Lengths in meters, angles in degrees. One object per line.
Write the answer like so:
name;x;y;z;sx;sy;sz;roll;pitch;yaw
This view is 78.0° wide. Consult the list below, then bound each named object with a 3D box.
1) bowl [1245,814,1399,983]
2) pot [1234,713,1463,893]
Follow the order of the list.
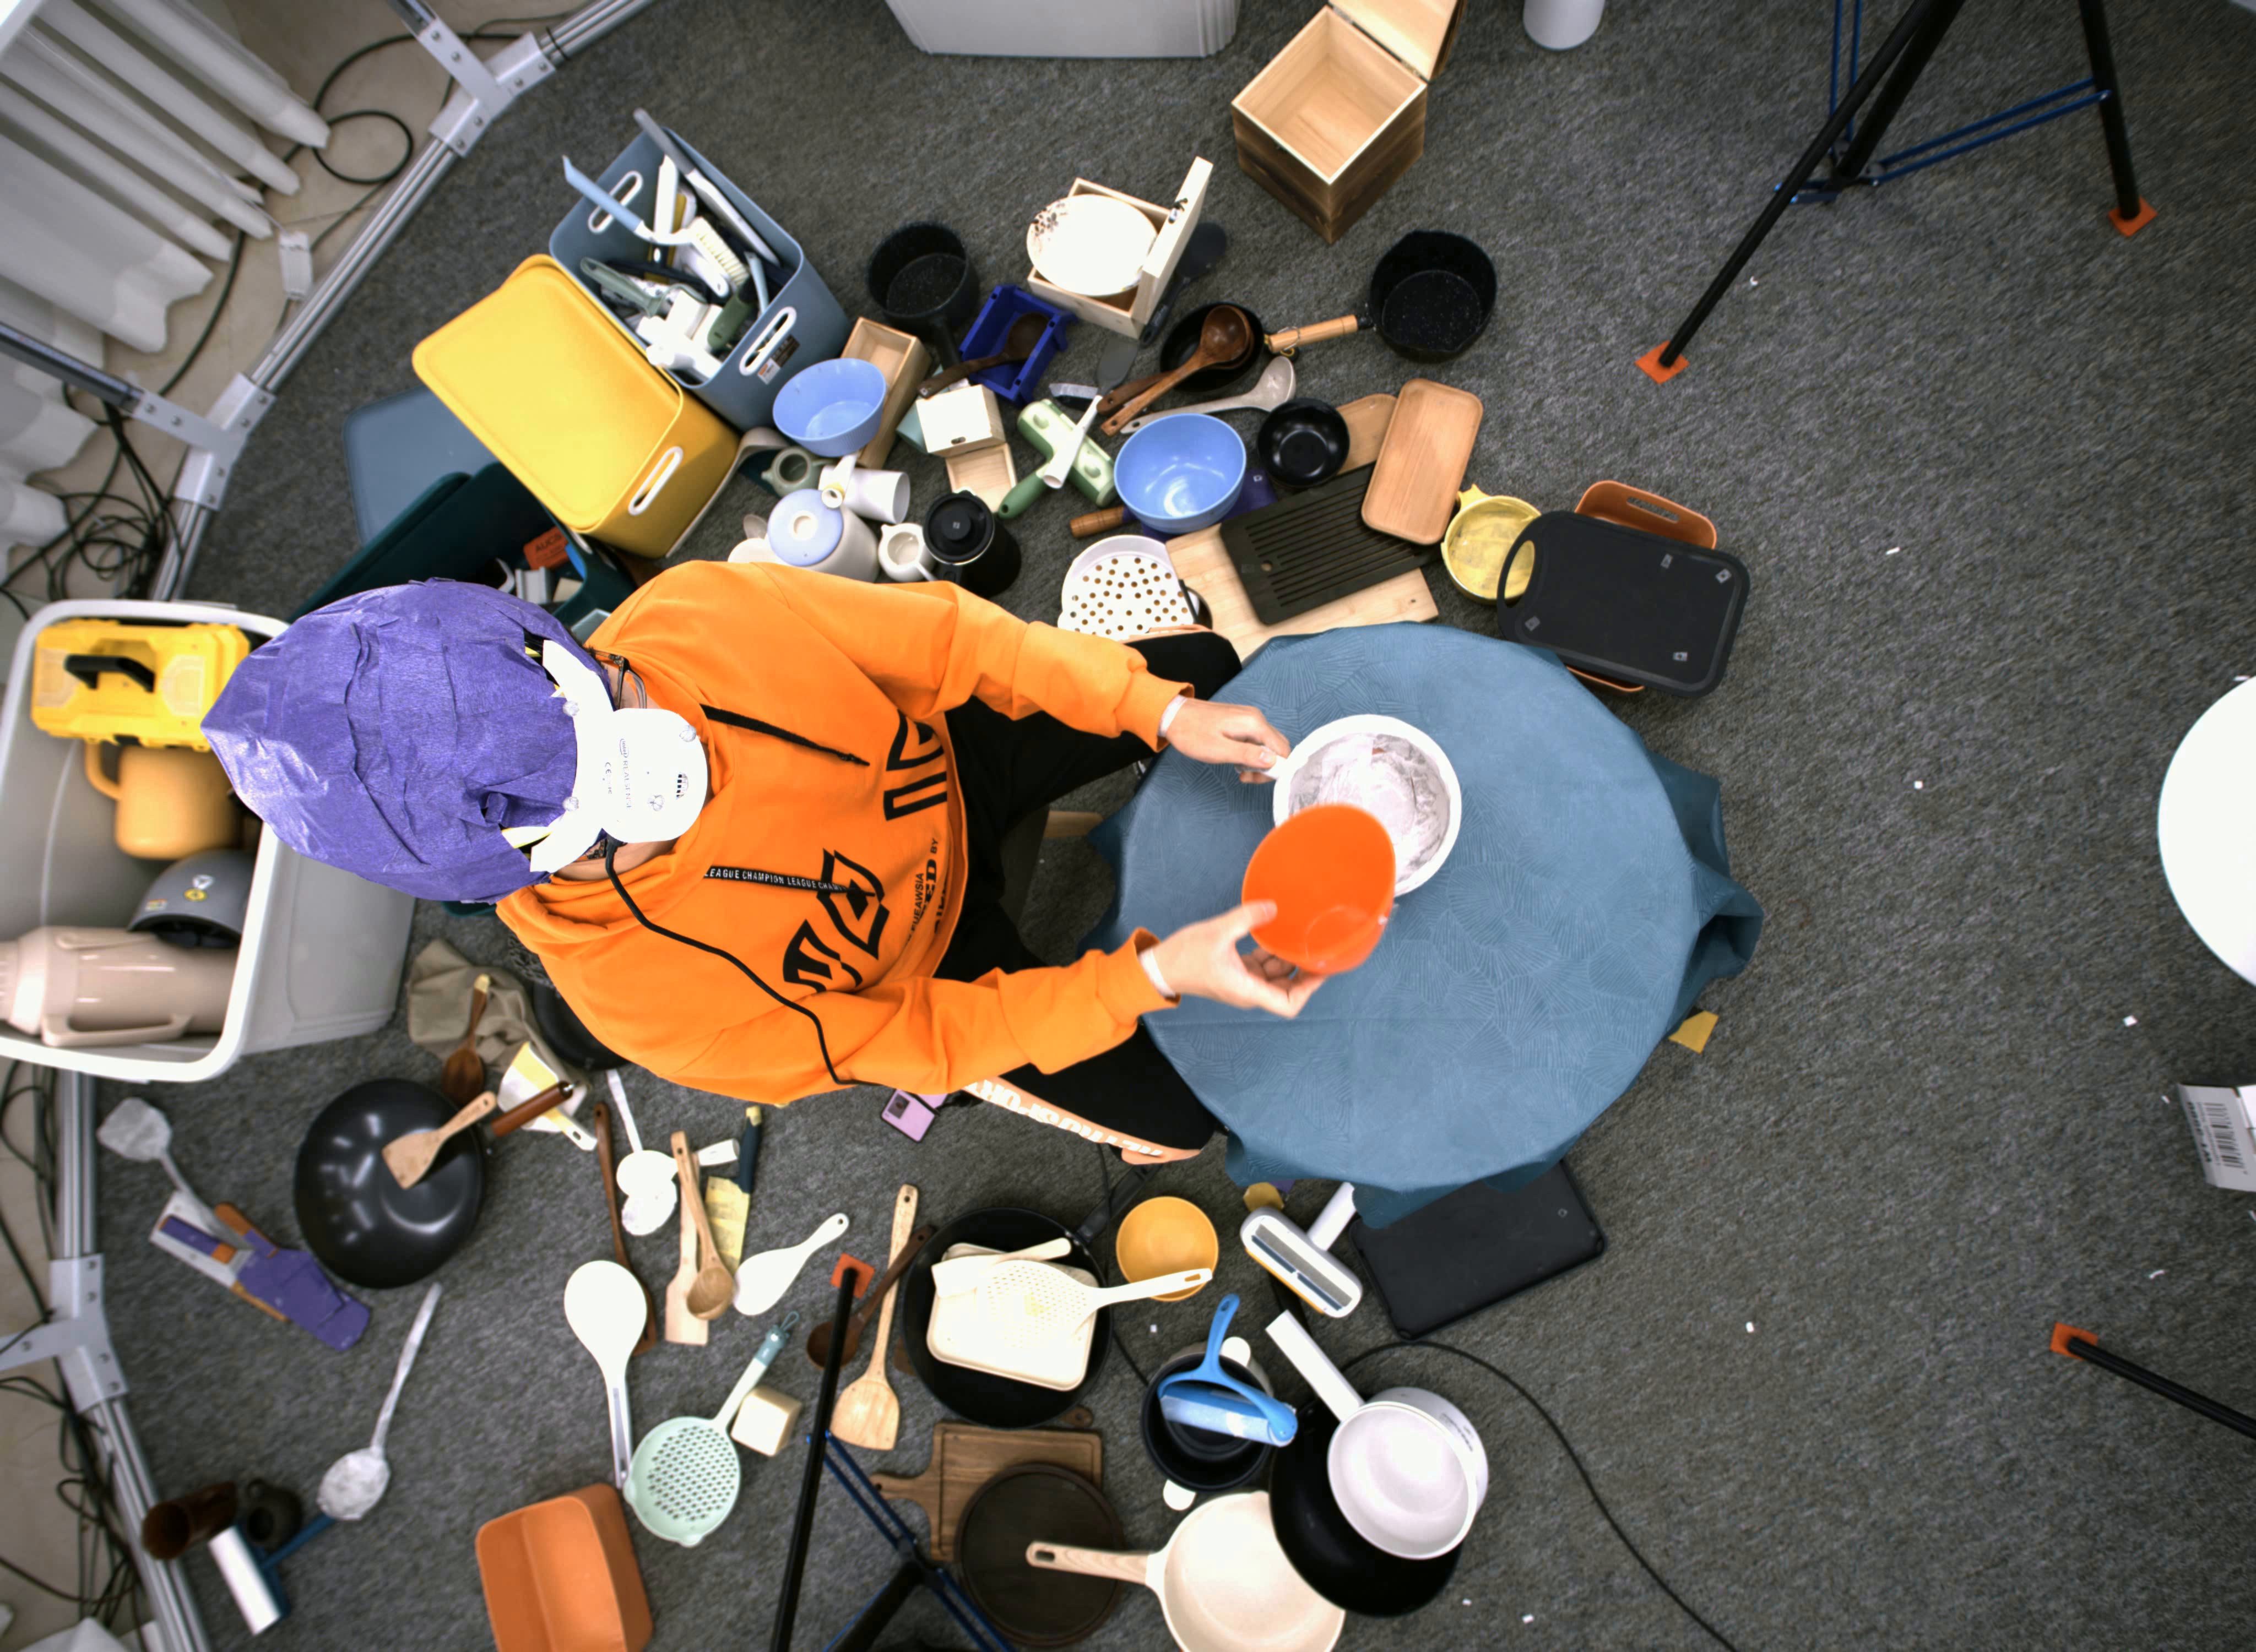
bowl;0.186;0.077;1.242;0.149;0.106;0.144;-16;52;22
pot;0.212;-0.029;1.373;0.233;0.136;0.179;24;93;9
